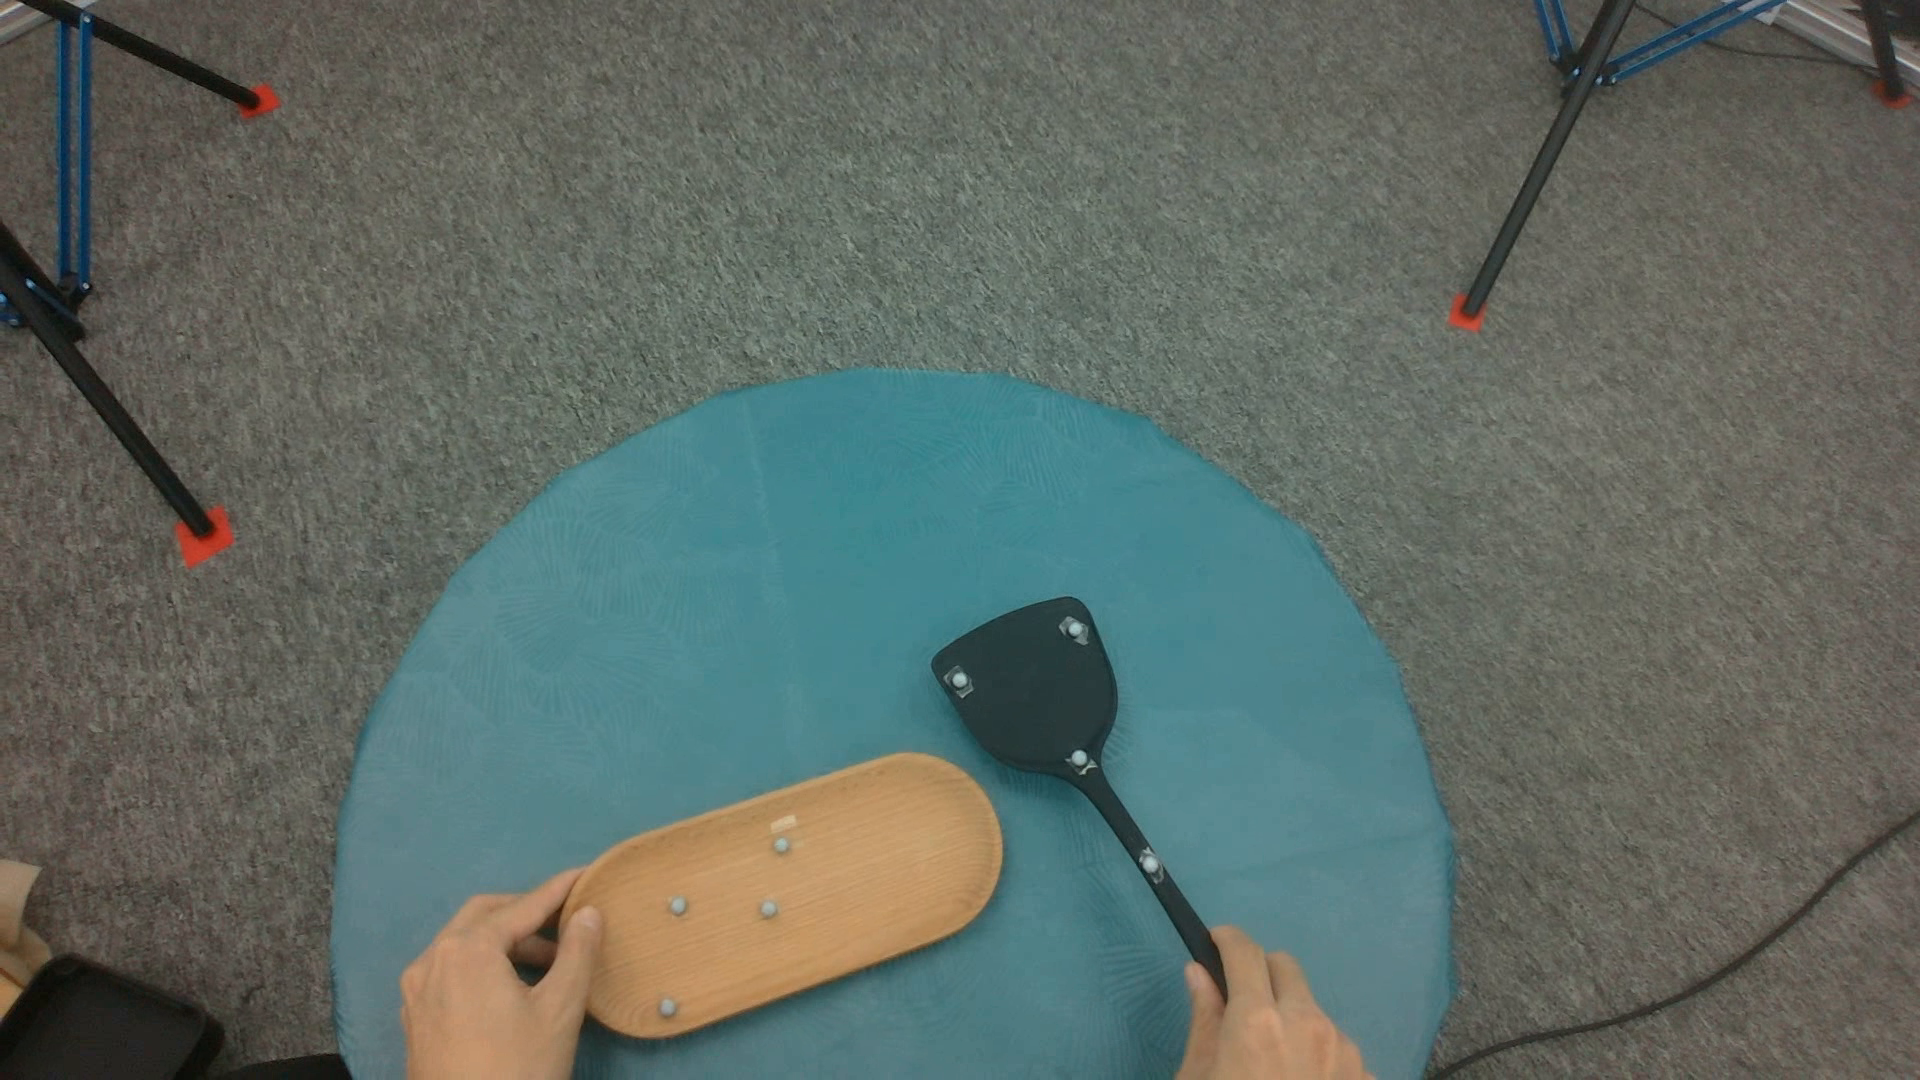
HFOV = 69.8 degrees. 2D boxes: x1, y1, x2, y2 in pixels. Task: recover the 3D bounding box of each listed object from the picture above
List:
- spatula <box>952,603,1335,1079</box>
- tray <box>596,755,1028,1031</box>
[{"bbox_3d":[0.107,0.165,0.702,0.100,0.040,0.327,-24,50,-14],"label":"spatula"},{"bbox_3d":[-0.075,0.184,0.729,0.231,0.020,0.102,-15,66,-14],"label":"tray"}]
